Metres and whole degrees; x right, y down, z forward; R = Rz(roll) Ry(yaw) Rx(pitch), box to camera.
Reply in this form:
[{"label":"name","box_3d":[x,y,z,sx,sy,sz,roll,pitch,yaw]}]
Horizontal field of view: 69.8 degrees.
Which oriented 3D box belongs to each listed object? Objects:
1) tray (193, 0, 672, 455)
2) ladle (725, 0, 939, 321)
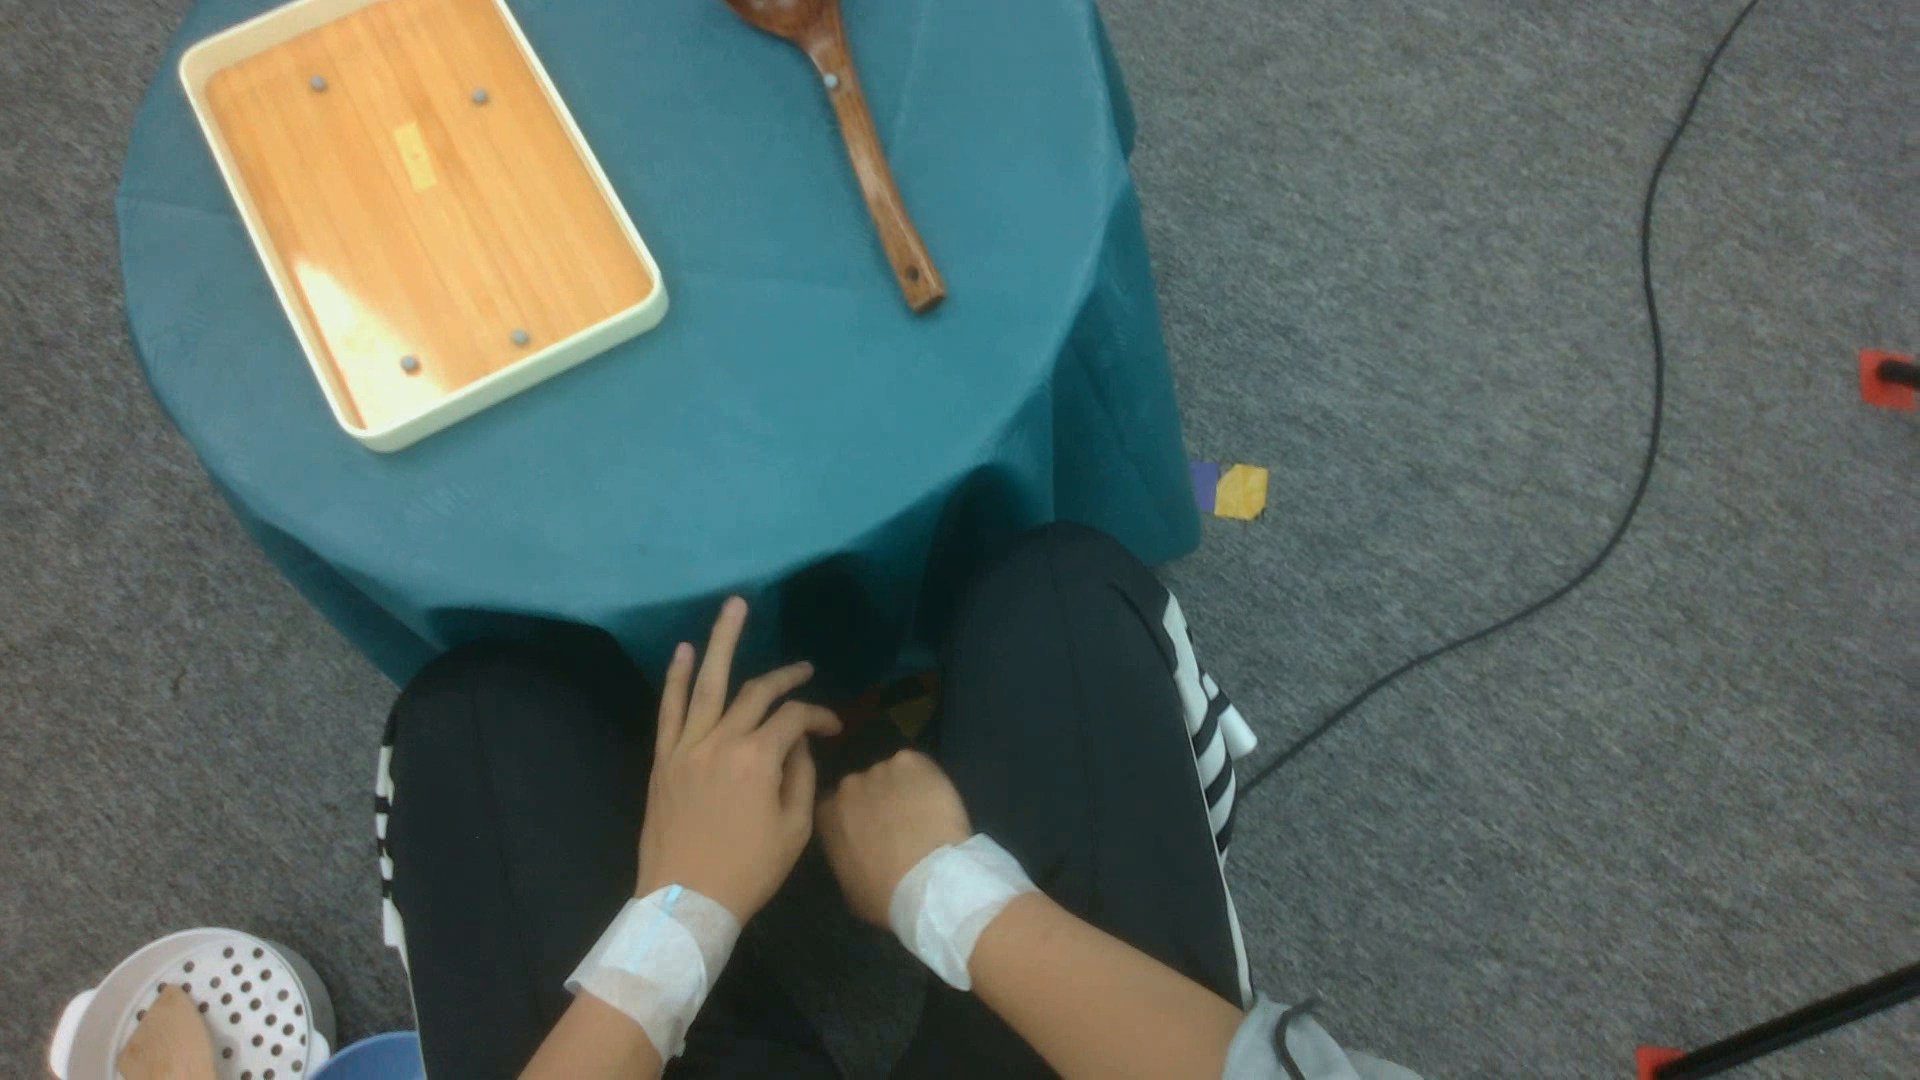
[{"label":"tray","box_3d":[-0.318,-0.211,0.825,0.192,0.027,0.300,-29,73,-9]},{"label":"ladle","box_3d":[-0.079,-0.258,0.816,0.081,0.077,0.274,-31,69,34]}]
